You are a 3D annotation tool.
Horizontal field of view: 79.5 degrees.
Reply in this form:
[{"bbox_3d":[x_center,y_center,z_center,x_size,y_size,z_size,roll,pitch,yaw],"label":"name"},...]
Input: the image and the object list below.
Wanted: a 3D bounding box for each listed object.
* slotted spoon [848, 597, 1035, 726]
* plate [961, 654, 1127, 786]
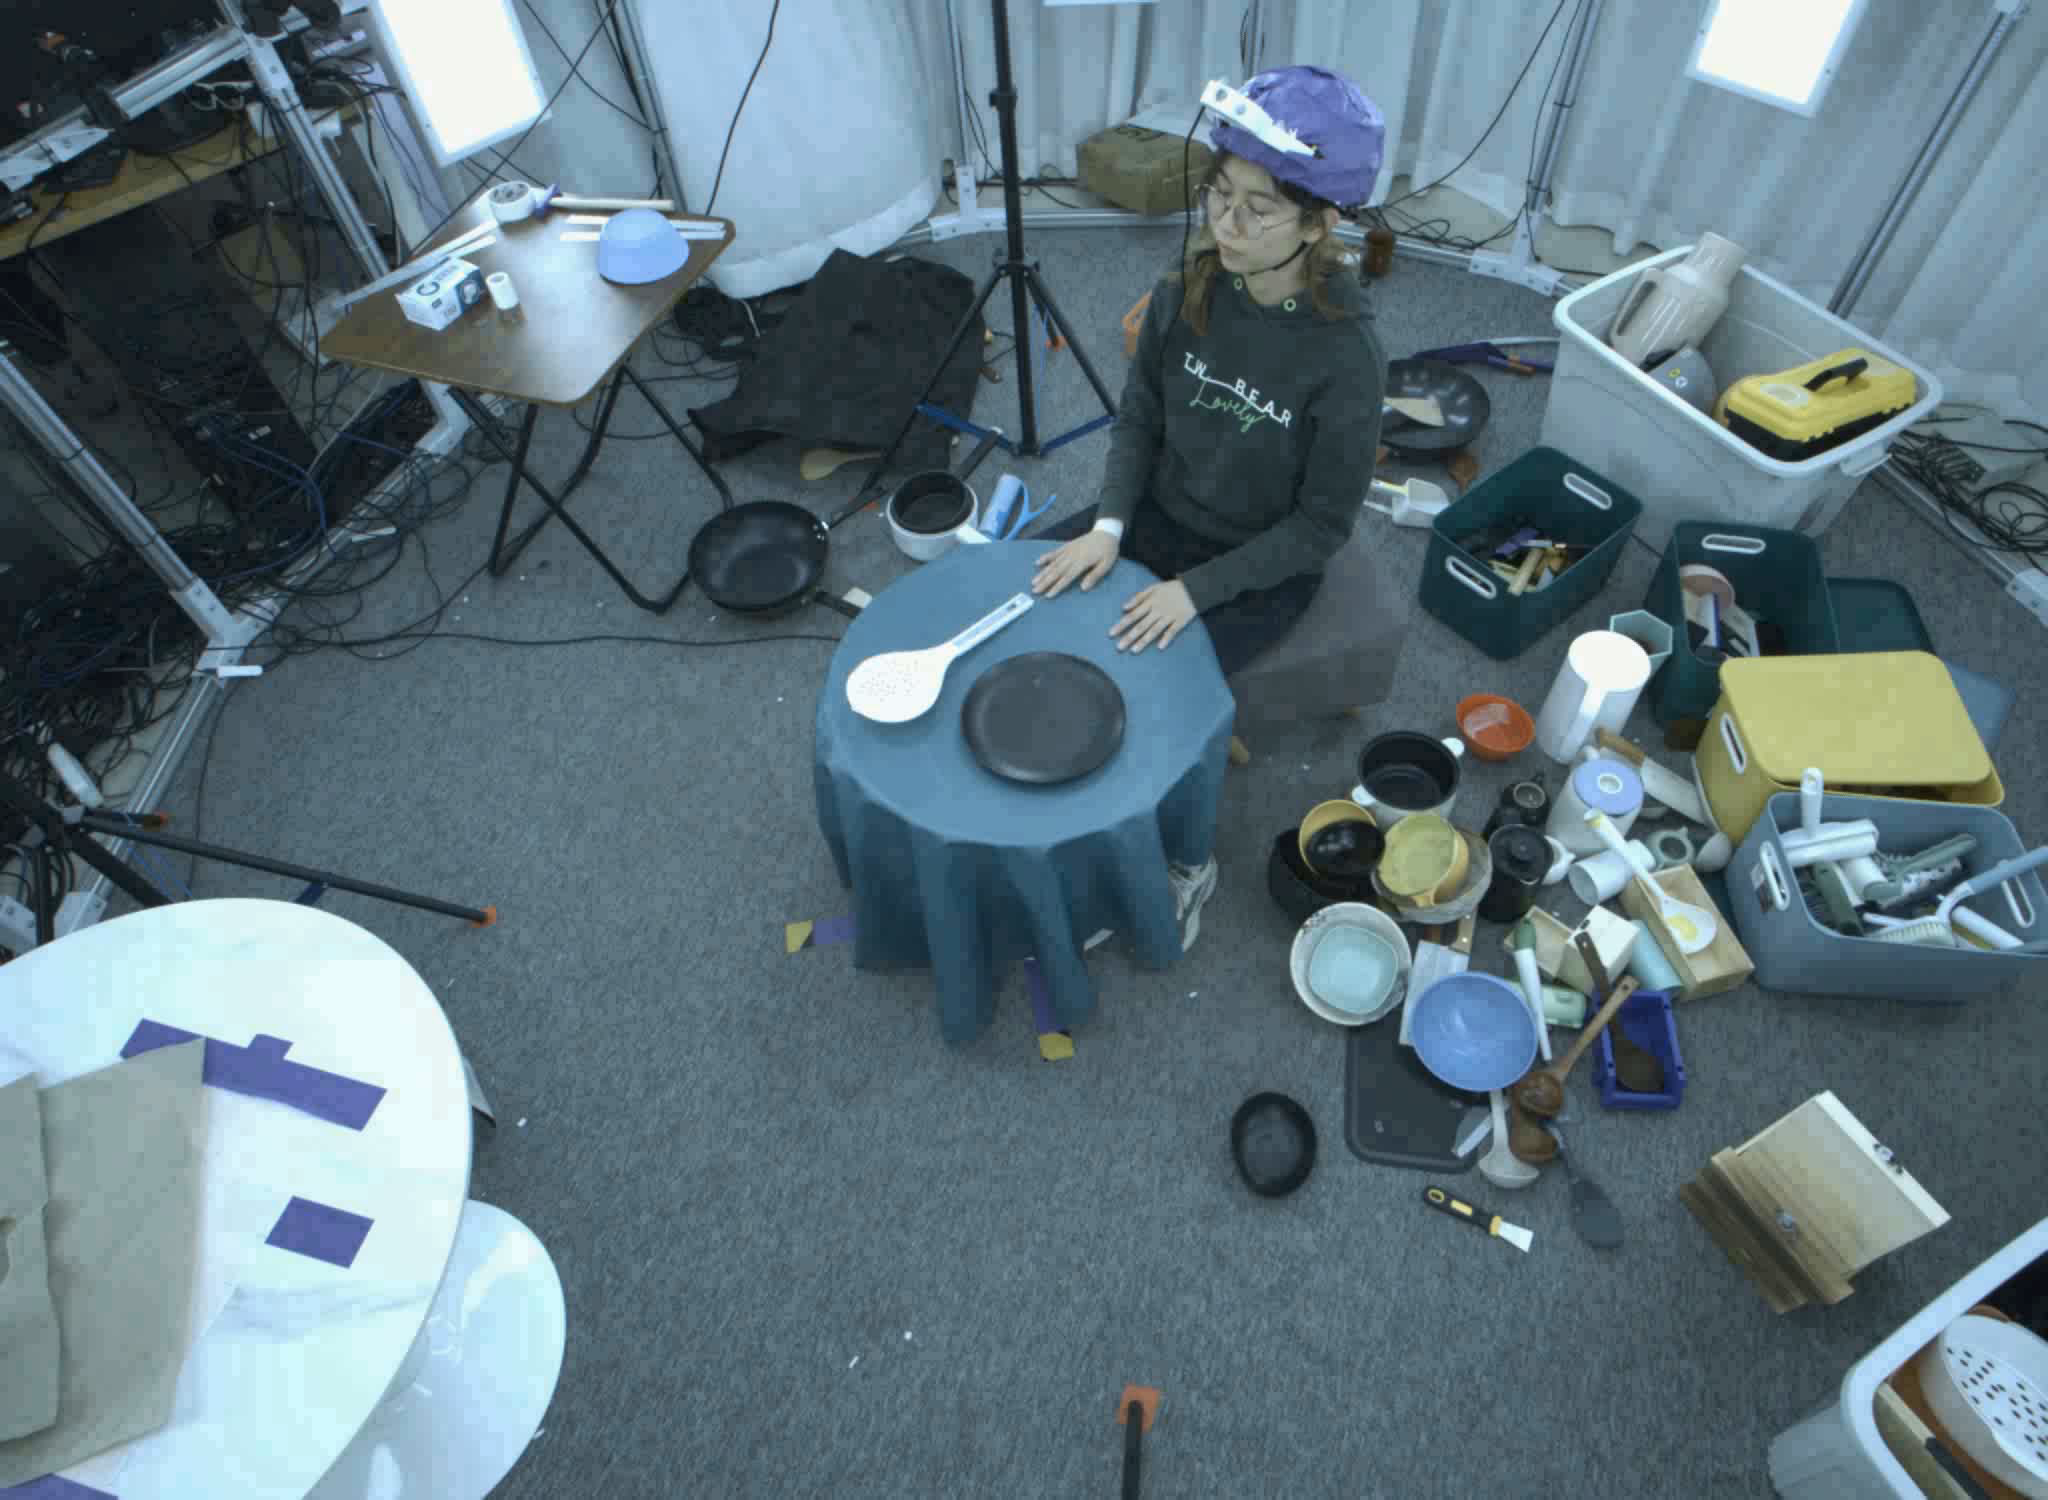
[{"bbox_3d":[-0.116,-0.143,1.874,0.352,0.046,0.134,-39,64,-24],"label":"slotted spoon"},{"bbox_3d":[0.030,-0.043,1.812,0.244,0.024,0.242,0,55,2],"label":"plate"}]
